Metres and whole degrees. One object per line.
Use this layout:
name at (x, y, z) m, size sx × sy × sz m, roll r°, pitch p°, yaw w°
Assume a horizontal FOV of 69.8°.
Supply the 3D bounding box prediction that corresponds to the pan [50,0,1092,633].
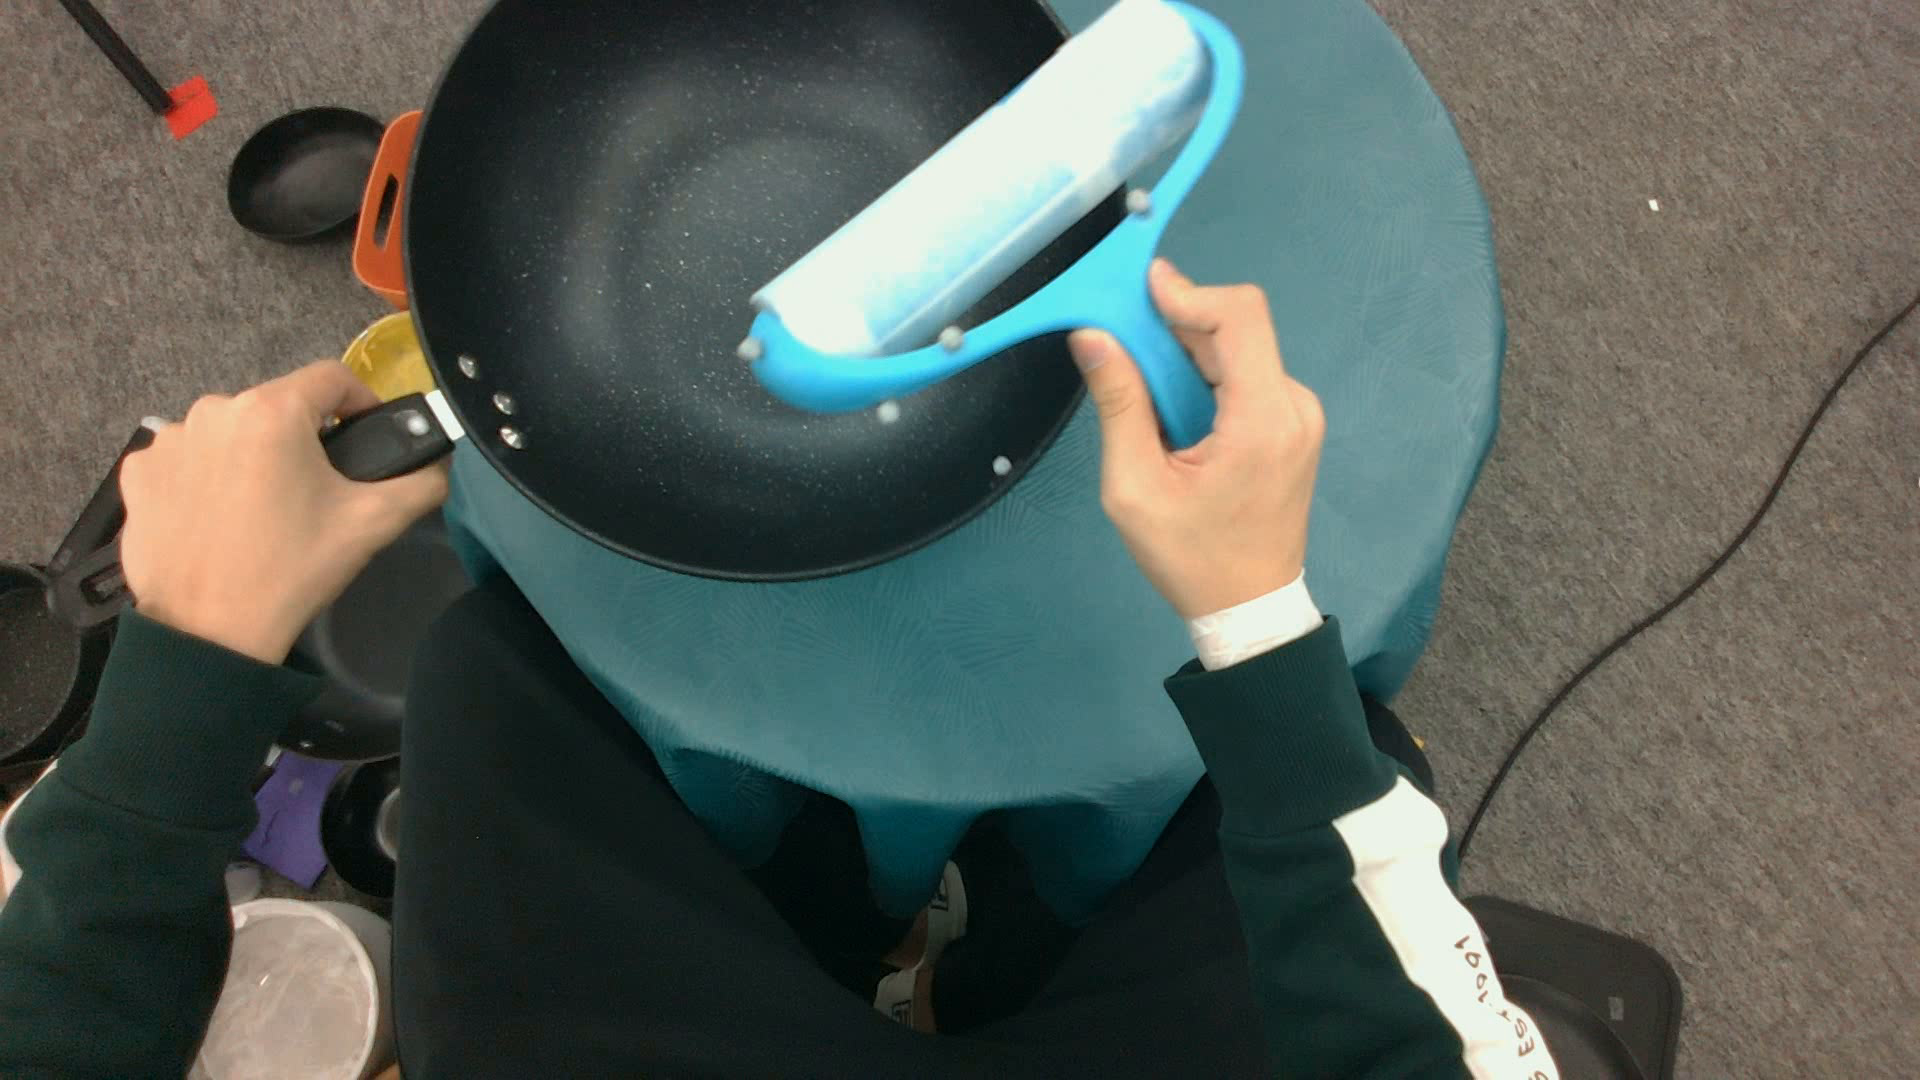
pan at (-0.161, -0.097, 0.617) m, size 0.477 × 0.111 × 0.310 m, roll -34°, pitch 86°, yaw -5°

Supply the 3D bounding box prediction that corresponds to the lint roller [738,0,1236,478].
lint roller at (0.049, -0.100, 0.529) m, size 0.229 × 0.068 × 0.180 m, roll -44°, pitch 88°, yaw -12°
